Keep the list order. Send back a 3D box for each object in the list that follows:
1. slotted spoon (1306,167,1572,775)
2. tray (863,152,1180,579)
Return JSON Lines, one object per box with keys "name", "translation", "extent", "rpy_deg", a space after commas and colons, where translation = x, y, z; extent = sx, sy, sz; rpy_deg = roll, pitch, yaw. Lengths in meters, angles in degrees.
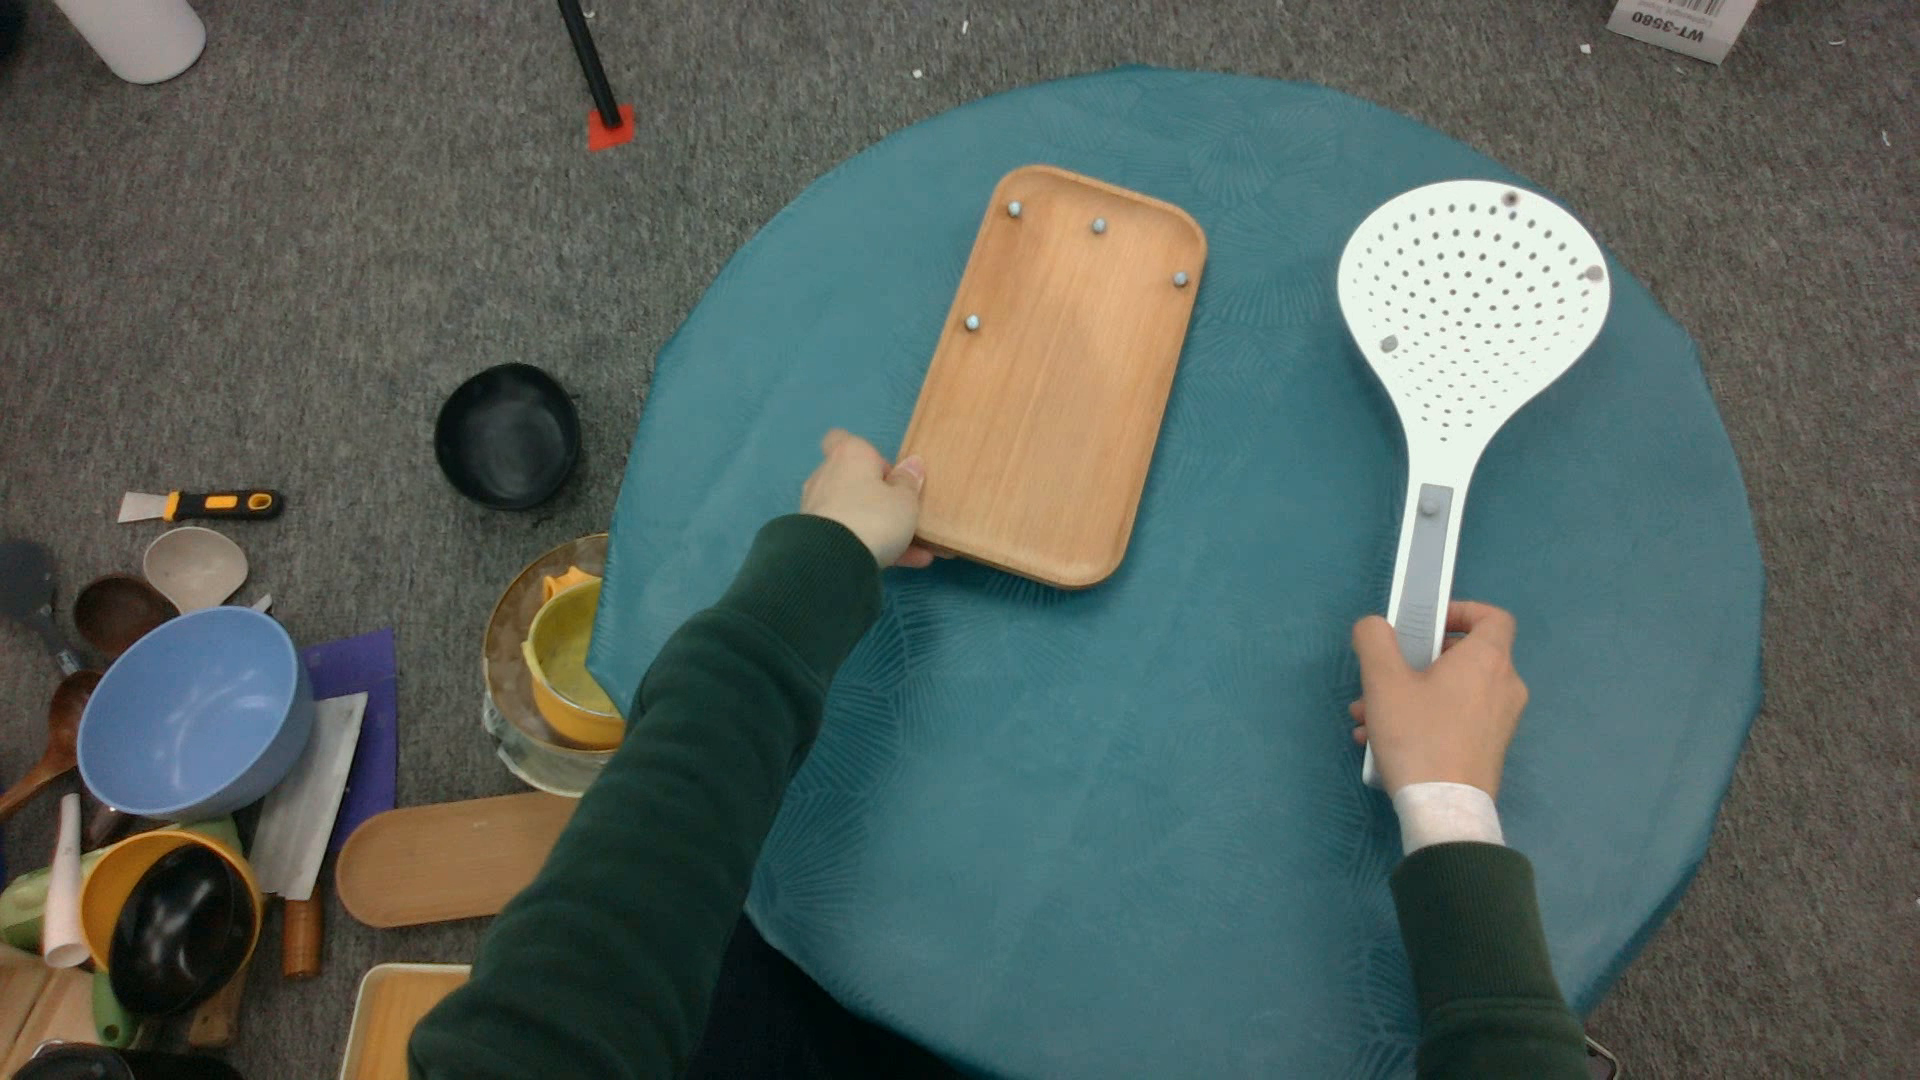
{"name": "slotted spoon", "translation": [0.231, -0.048, 0.702], "extent": [0.136, 0.045, 0.351], "rpy_deg": [7, 60, 19]}
{"name": "tray", "translation": [0.038, -0.101, 0.747], "extent": [0.130, 0.023, 0.251], "rpy_deg": [17, 66, 1]}
